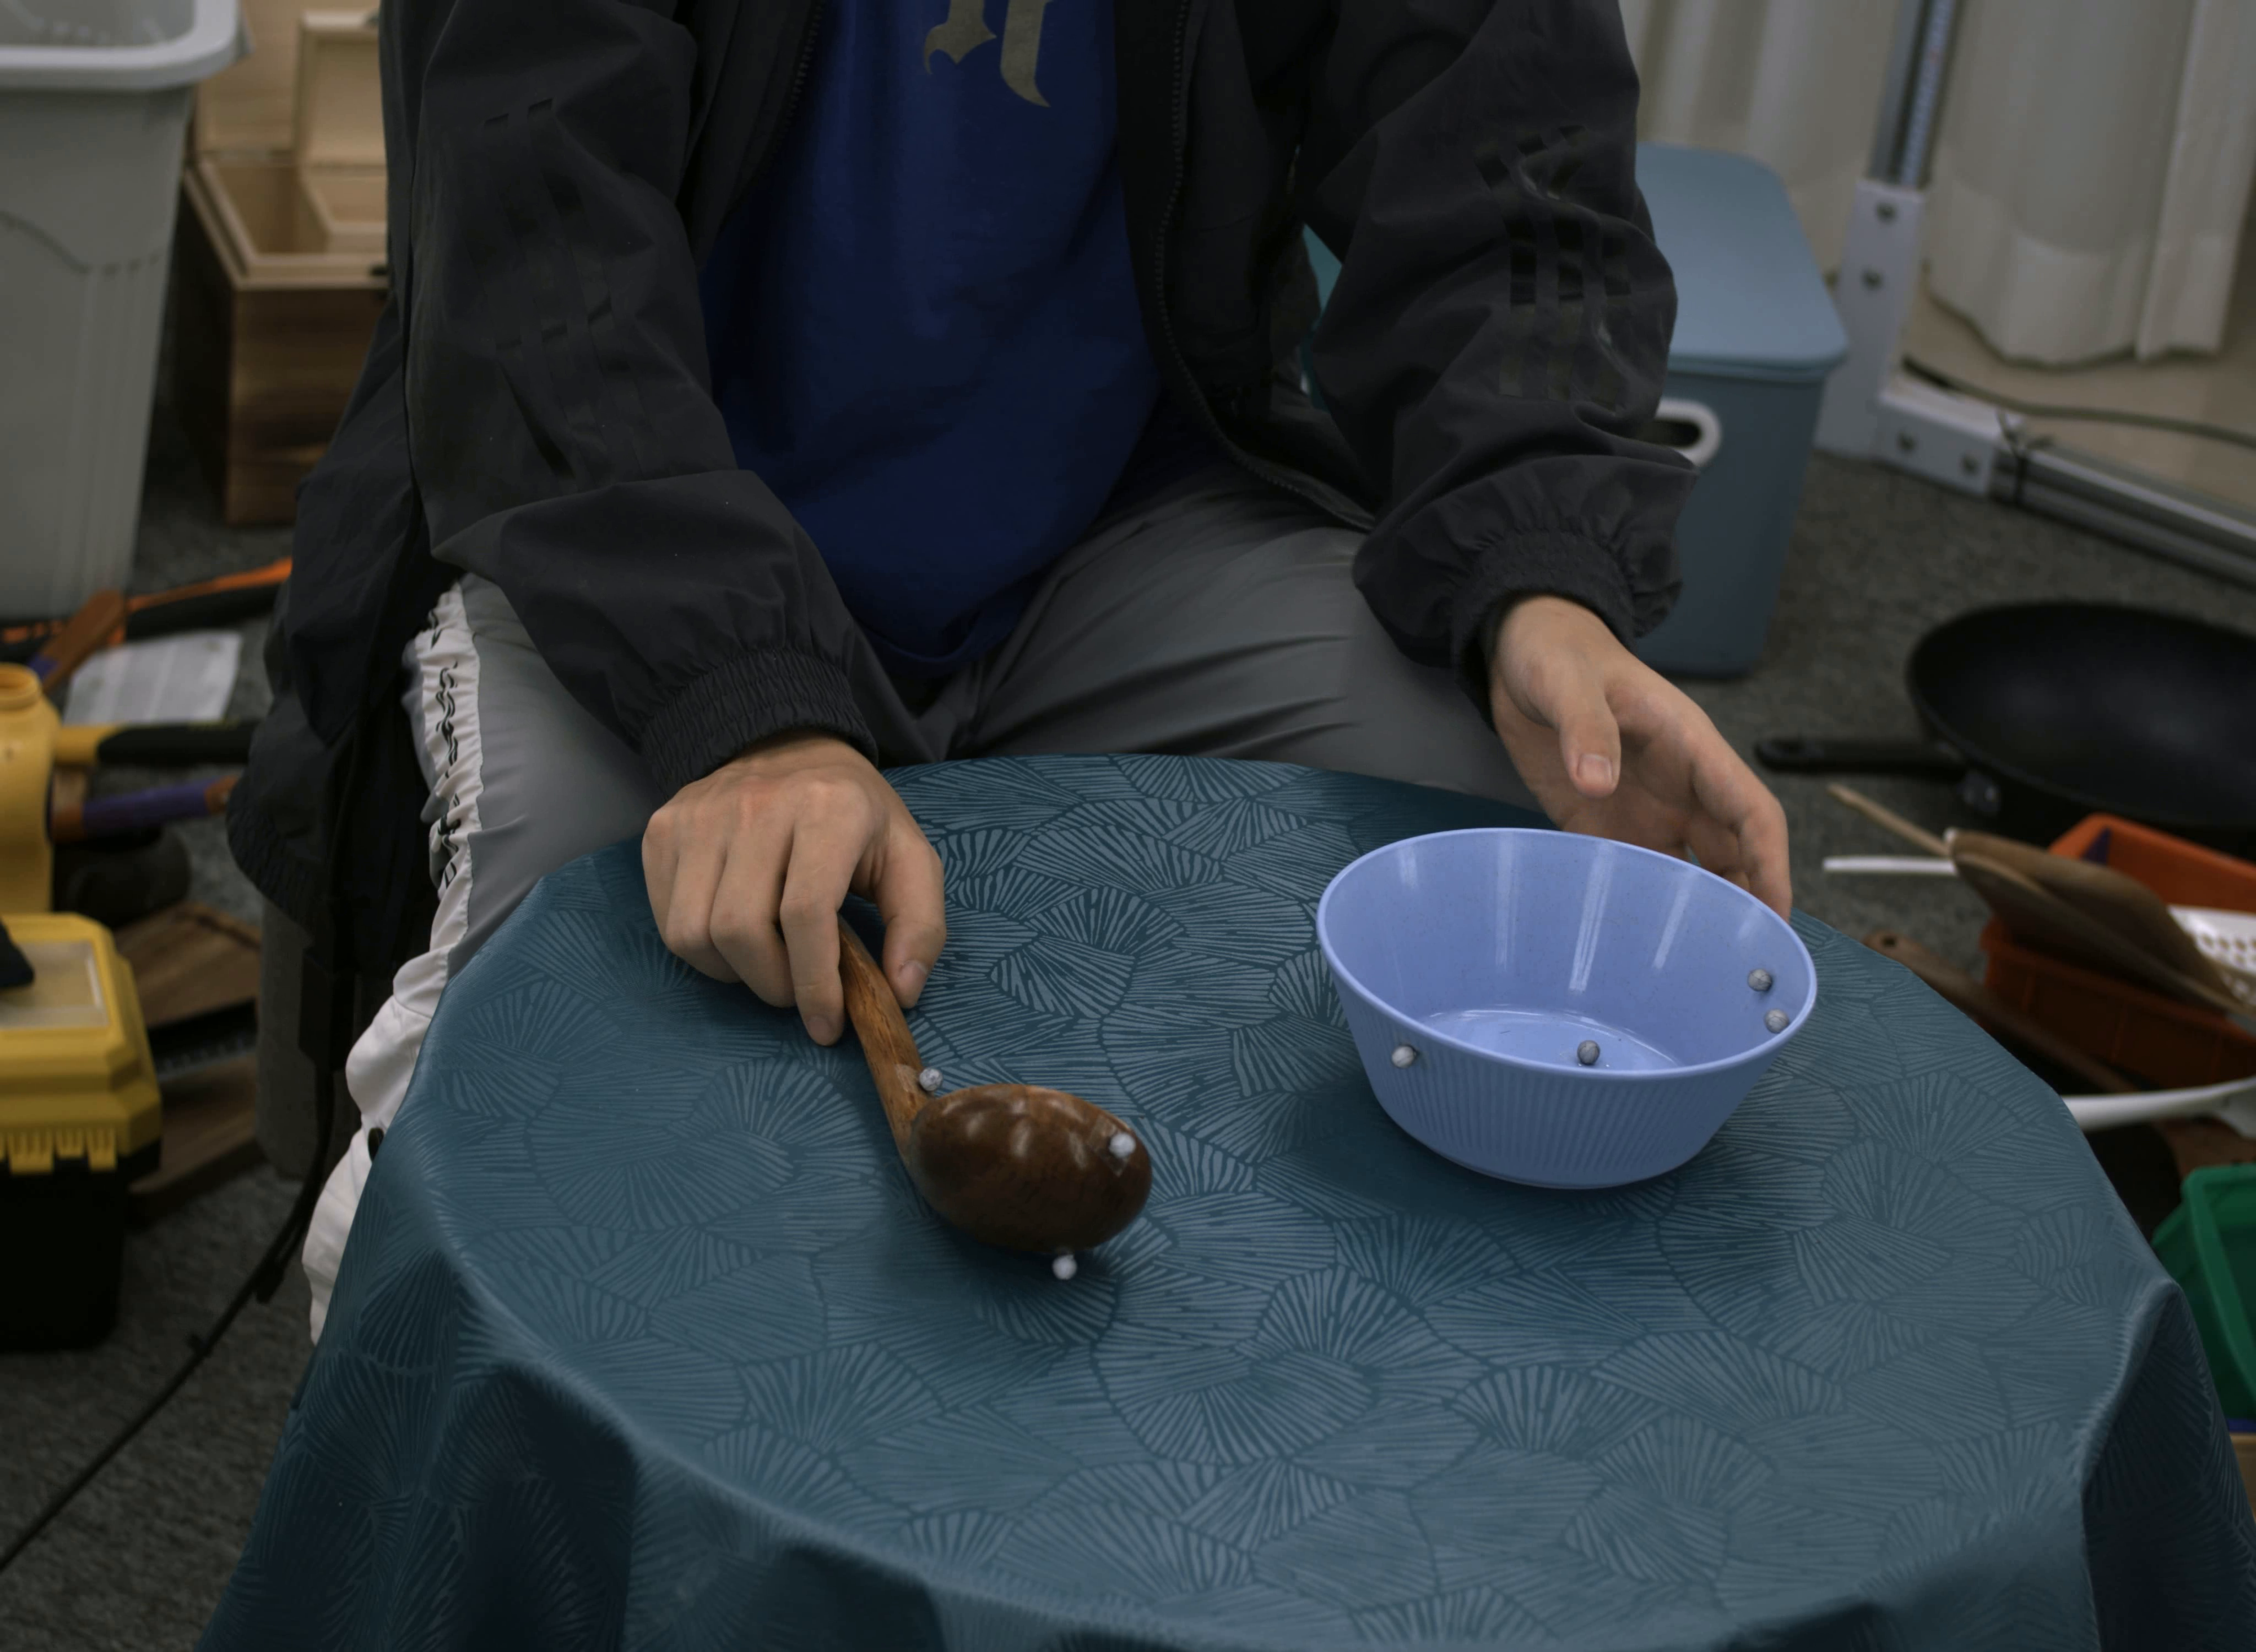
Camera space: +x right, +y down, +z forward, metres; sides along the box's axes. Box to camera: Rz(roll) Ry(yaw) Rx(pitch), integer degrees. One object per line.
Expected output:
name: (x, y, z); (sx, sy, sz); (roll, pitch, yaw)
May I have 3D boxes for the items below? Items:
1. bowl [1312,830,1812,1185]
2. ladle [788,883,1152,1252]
bowl: (0.148, 0.069, 1.867); (0.175, 0.070, 0.177); (5, 26, -3)
ladle: (-0.061, 0.064, 1.832); (0.076, 0.081, 0.276); (-40, 29, 6)
